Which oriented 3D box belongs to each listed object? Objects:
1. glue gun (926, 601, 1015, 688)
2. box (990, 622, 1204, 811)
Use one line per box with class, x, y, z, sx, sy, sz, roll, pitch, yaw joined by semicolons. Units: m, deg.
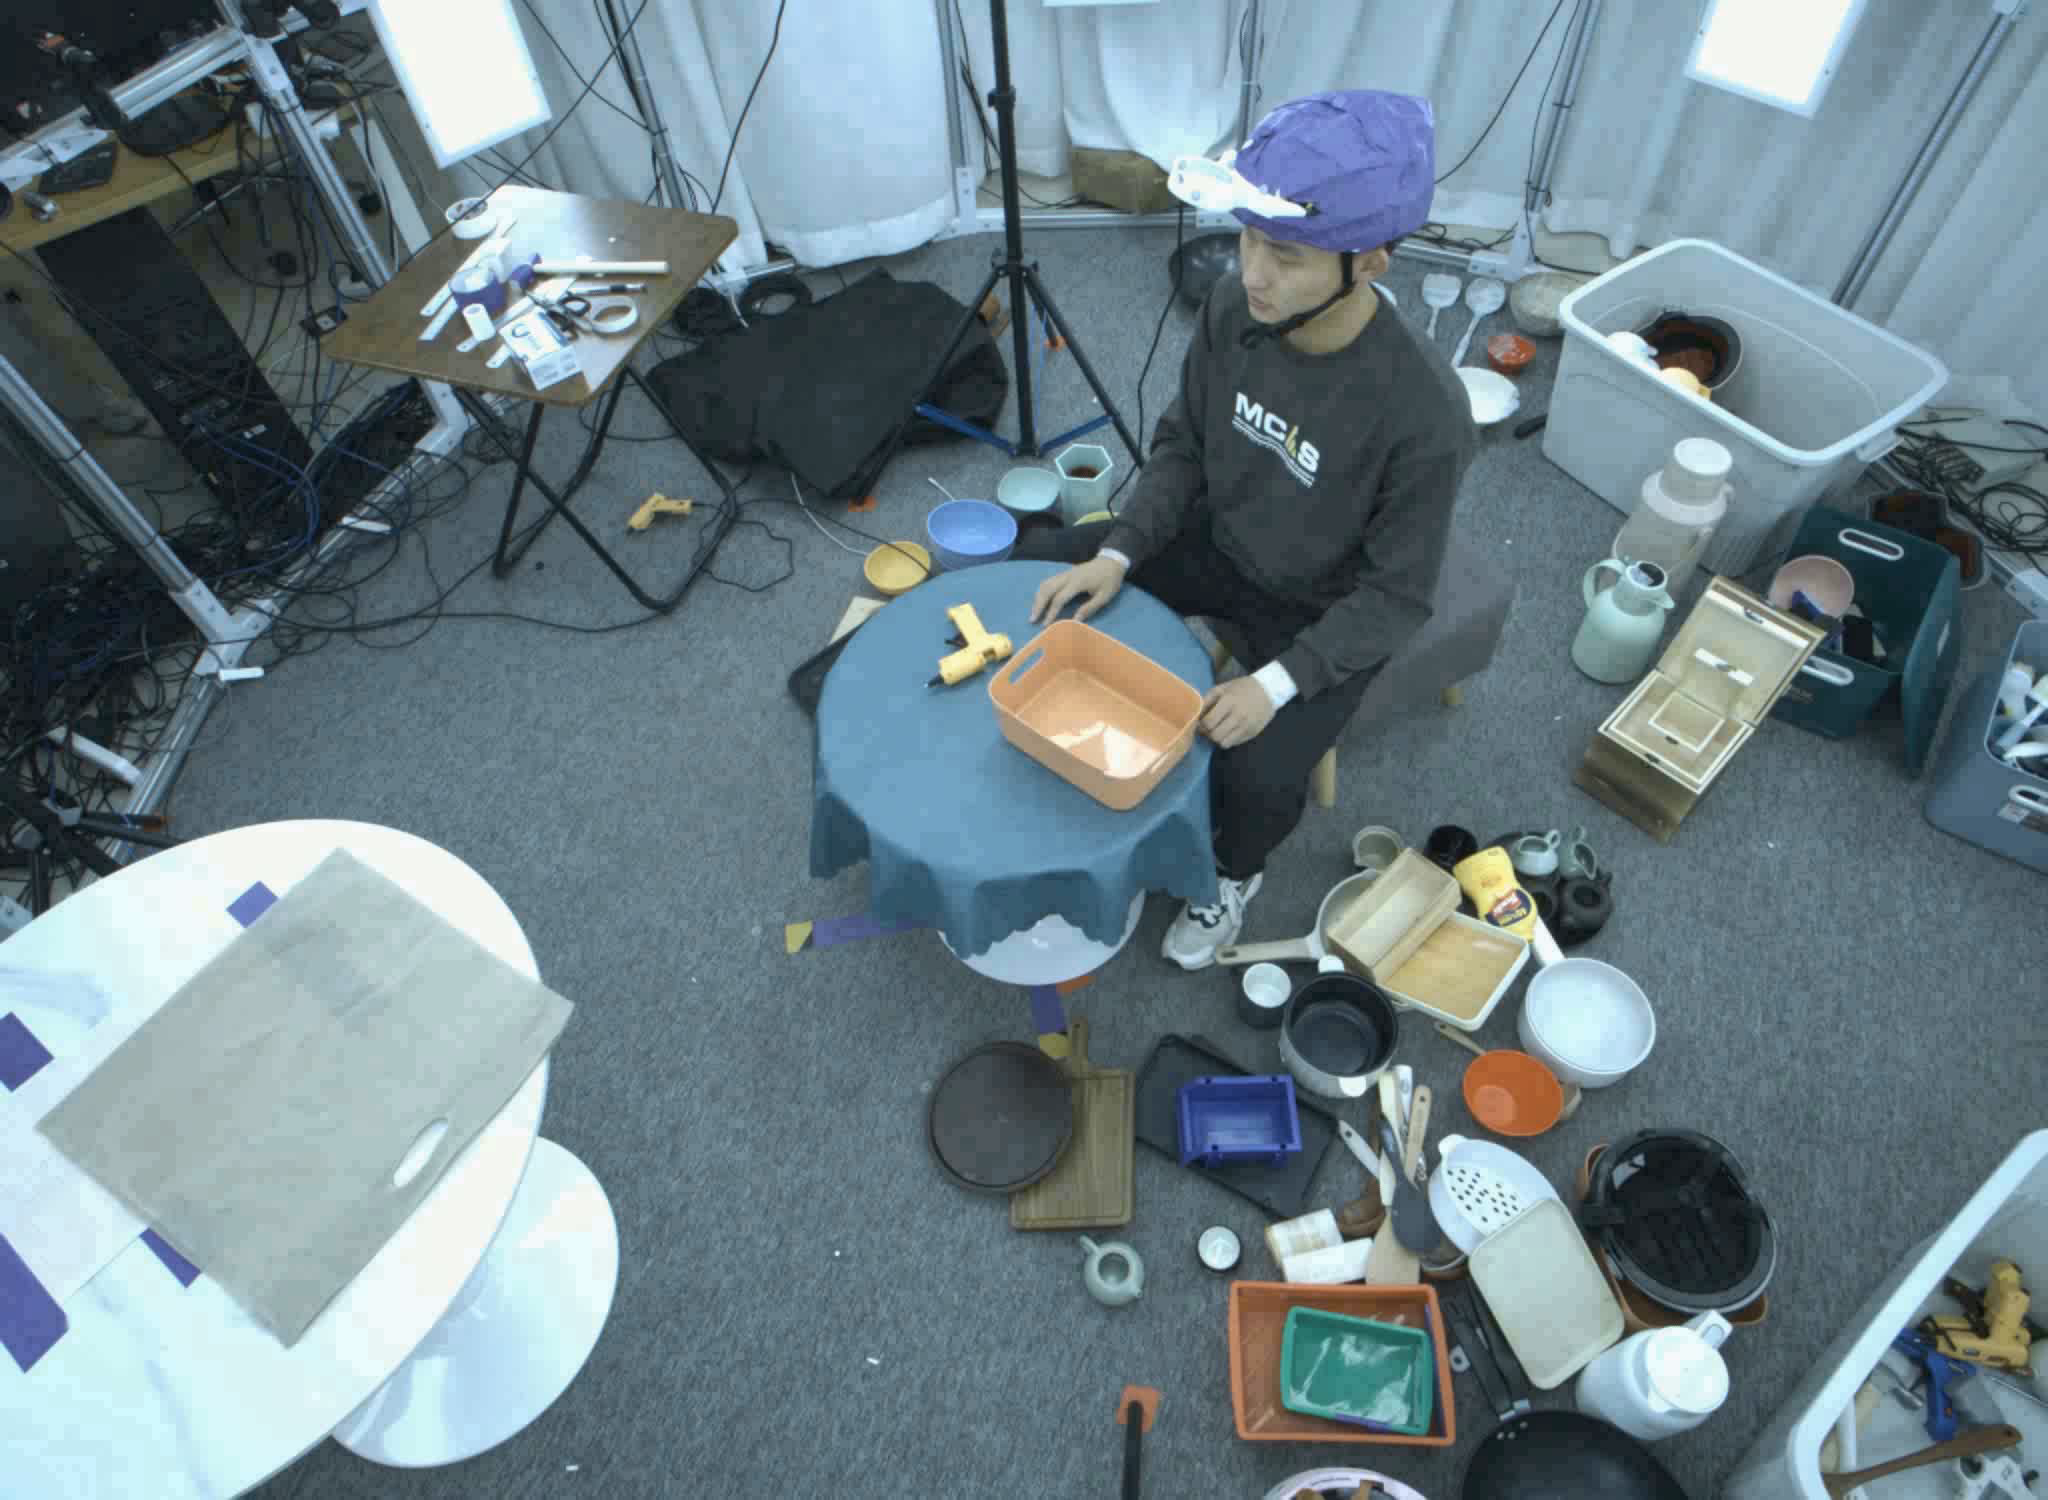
glue gun;-0.110;-0.157;1.887;0.152;0.031;0.130;-33;58;-19
box;0.103;-0.047;1.752;0.268;0.104;0.200;33;62;24
